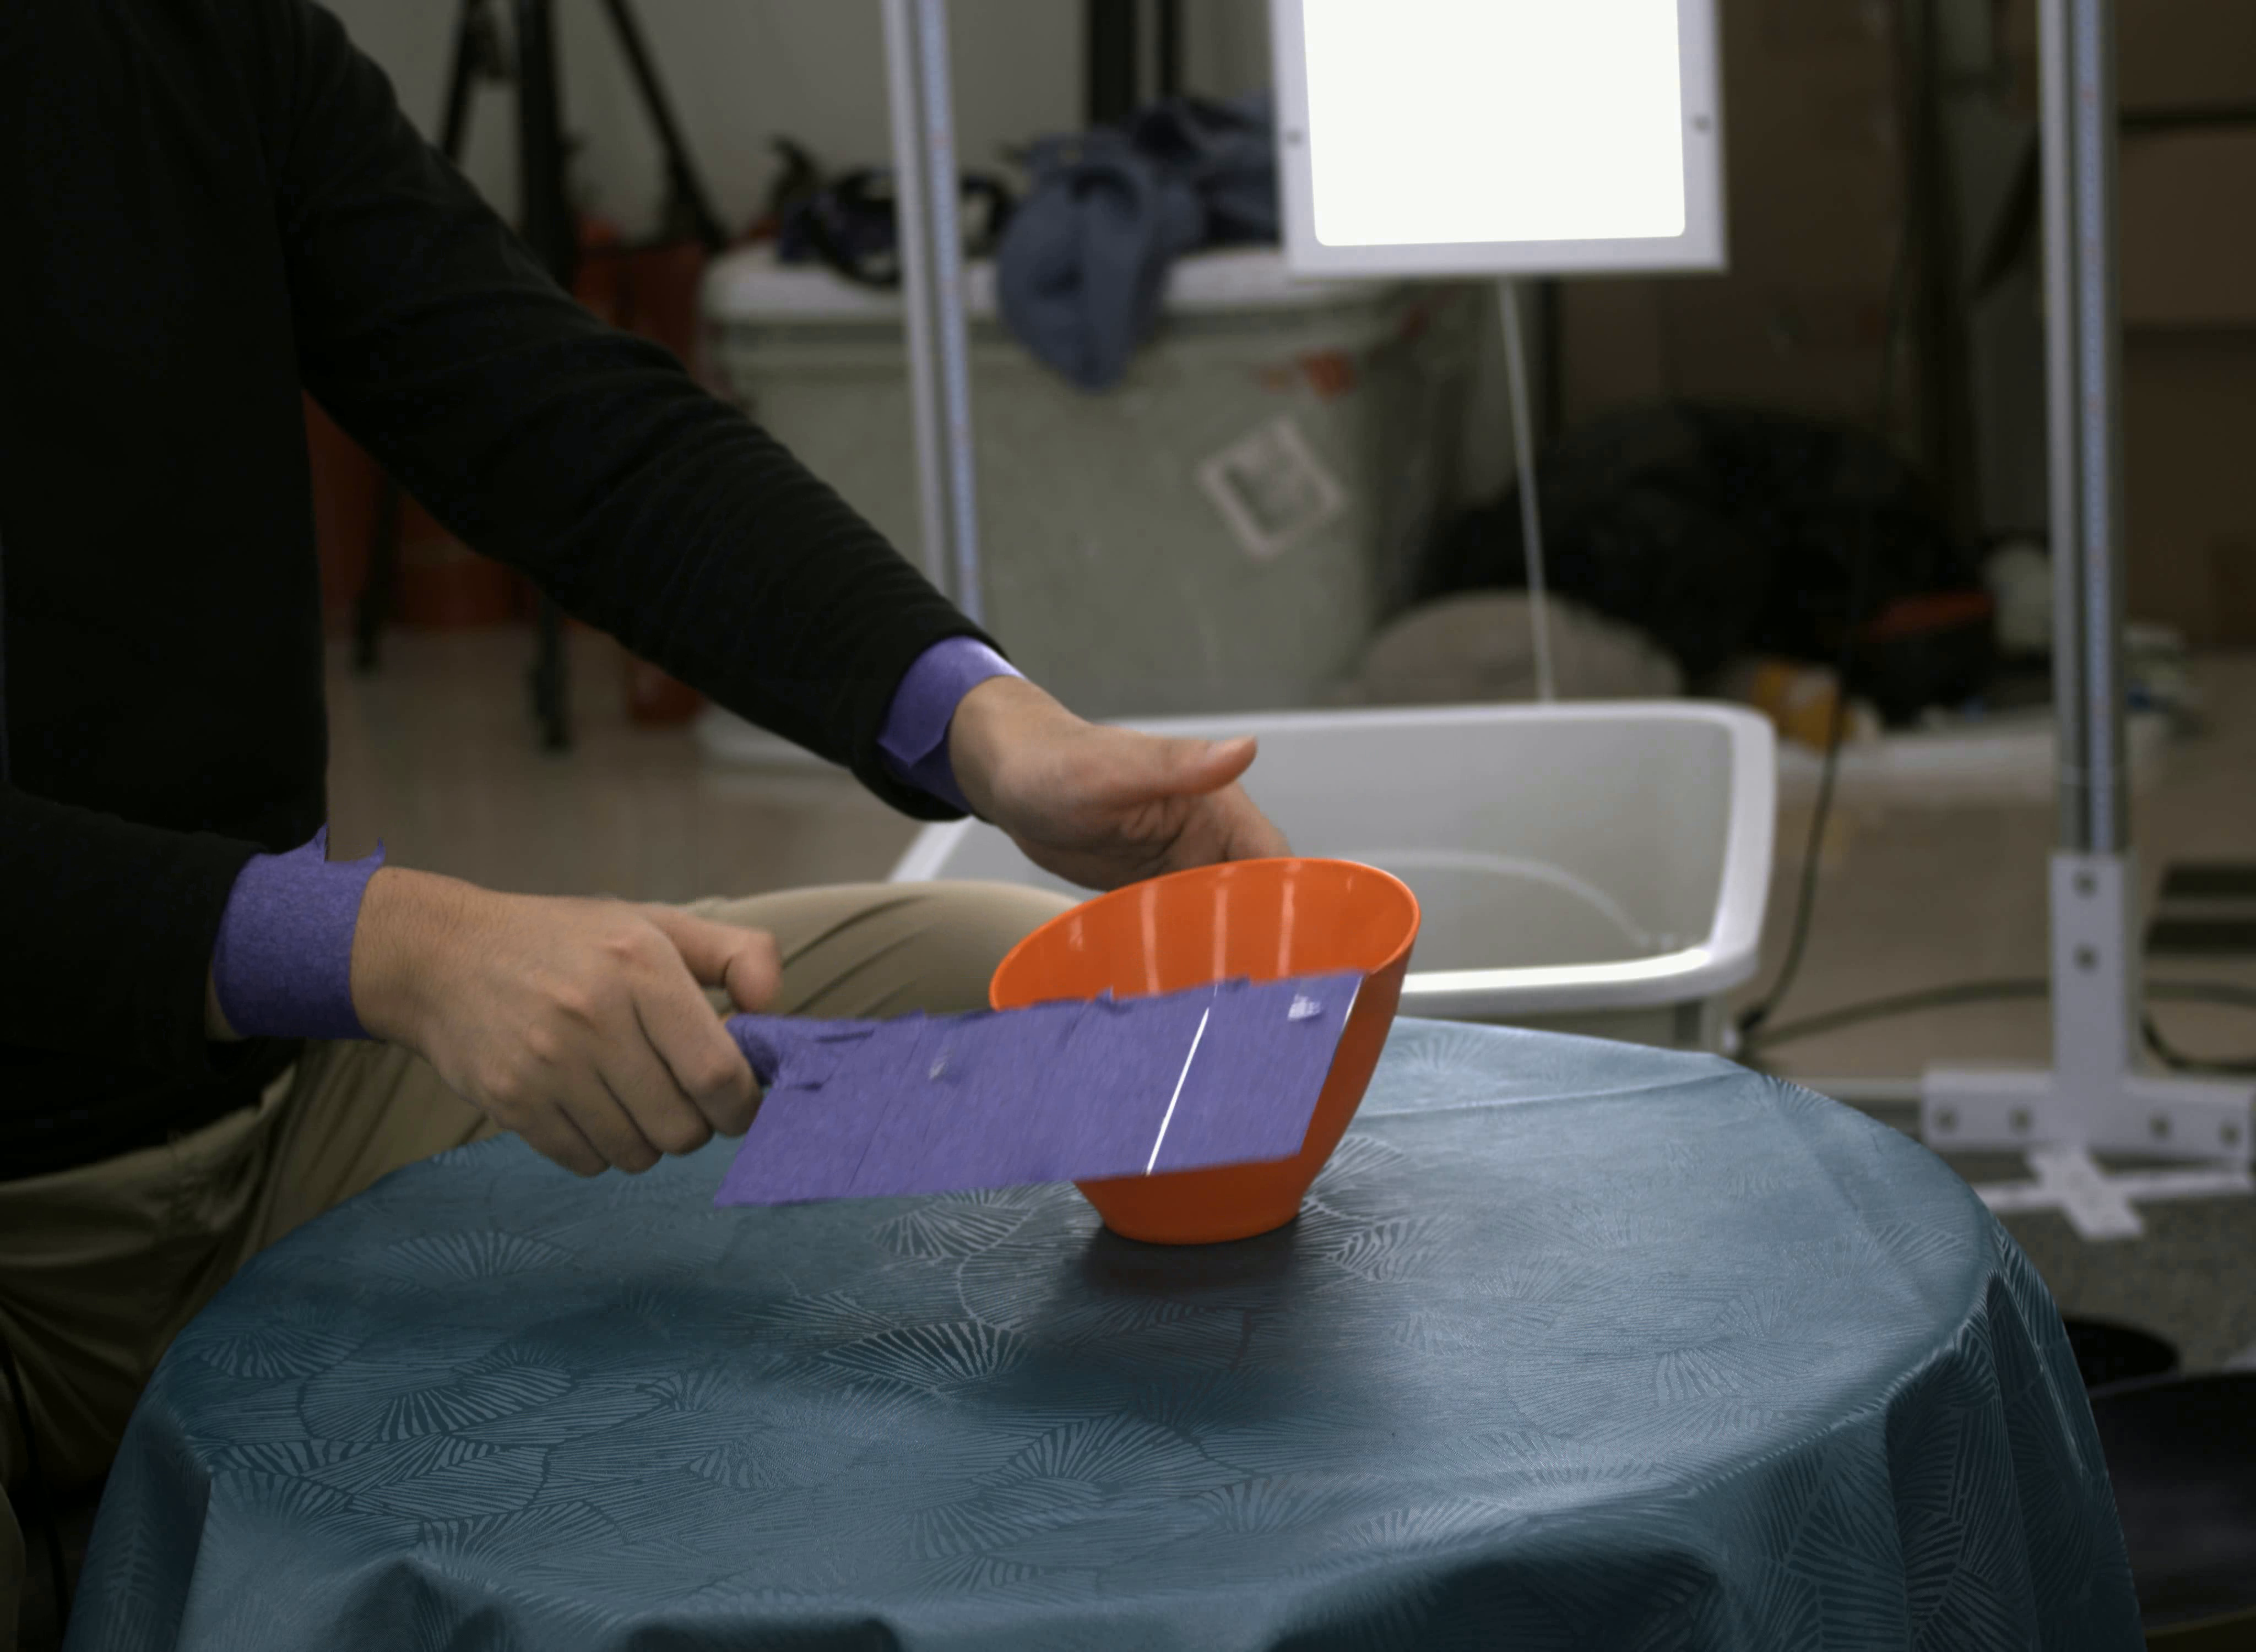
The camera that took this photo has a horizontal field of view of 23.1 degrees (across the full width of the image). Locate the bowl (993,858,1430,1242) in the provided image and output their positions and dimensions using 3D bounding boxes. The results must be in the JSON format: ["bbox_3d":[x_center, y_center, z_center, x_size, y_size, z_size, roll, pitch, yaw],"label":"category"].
[{"bbox_3d":[0.029,0.079,1.860,0.147,0.105,0.148,-2,15,-1],"label":"bowl"}]

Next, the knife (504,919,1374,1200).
[{"bbox_3d":[-0.074,0.081,1.763,0.321,0.032,0.102,-10,33,28],"label":"knife"}]
